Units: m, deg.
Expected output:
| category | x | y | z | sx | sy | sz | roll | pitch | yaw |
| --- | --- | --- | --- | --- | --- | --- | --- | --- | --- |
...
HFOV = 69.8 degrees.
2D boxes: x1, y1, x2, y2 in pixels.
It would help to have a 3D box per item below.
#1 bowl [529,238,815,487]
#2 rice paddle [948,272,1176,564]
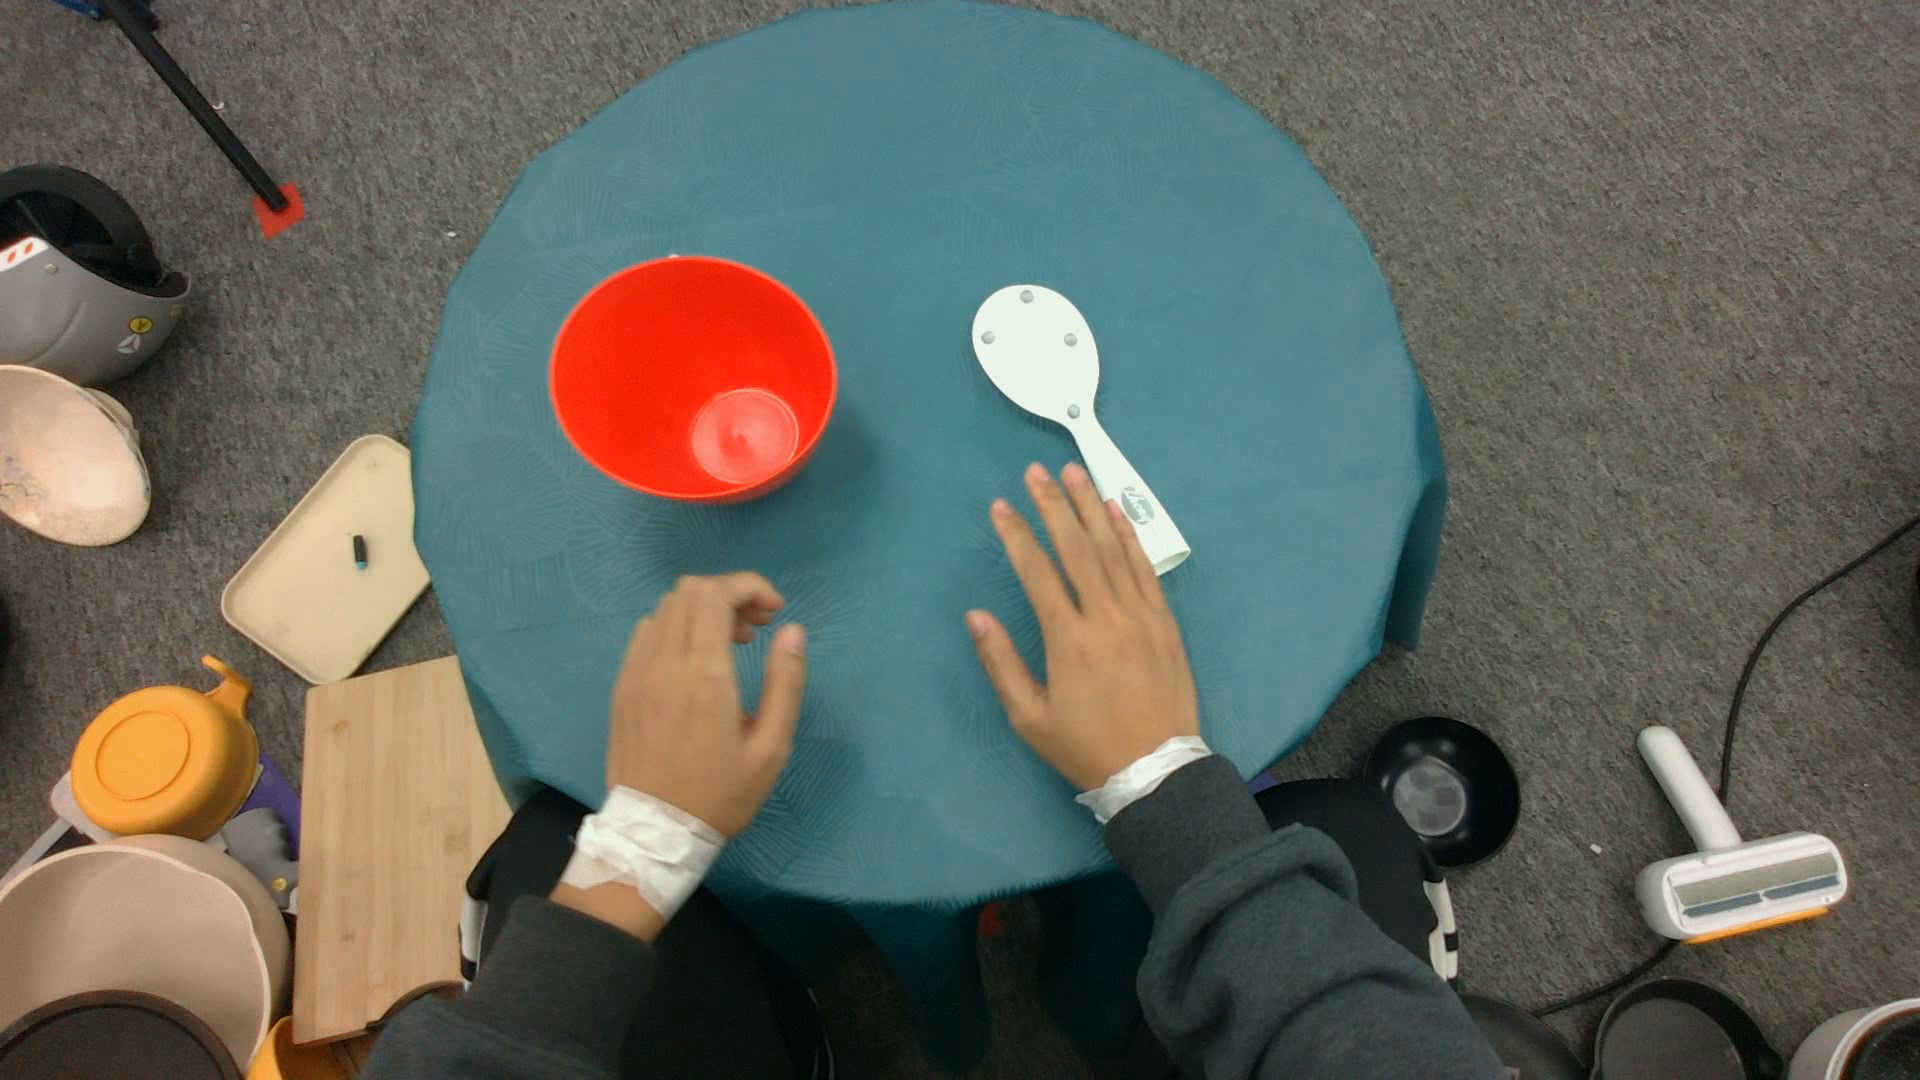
| category | x | y | z | sx | sy | sz | roll | pitch | yaw |
| --- | --- | --- | --- | --- | --- | --- | --- | --- | --- |
| bowl | -0.153 | -0.085 | 0.772 | 0.148 | 0.104 | 0.148 | 0 | 69 | 0 |
| rice paddle | 0.058 | -0.078 | 0.803 | 0.069 | 0.029 | 0.205 | -27 | 71 | -10 |
